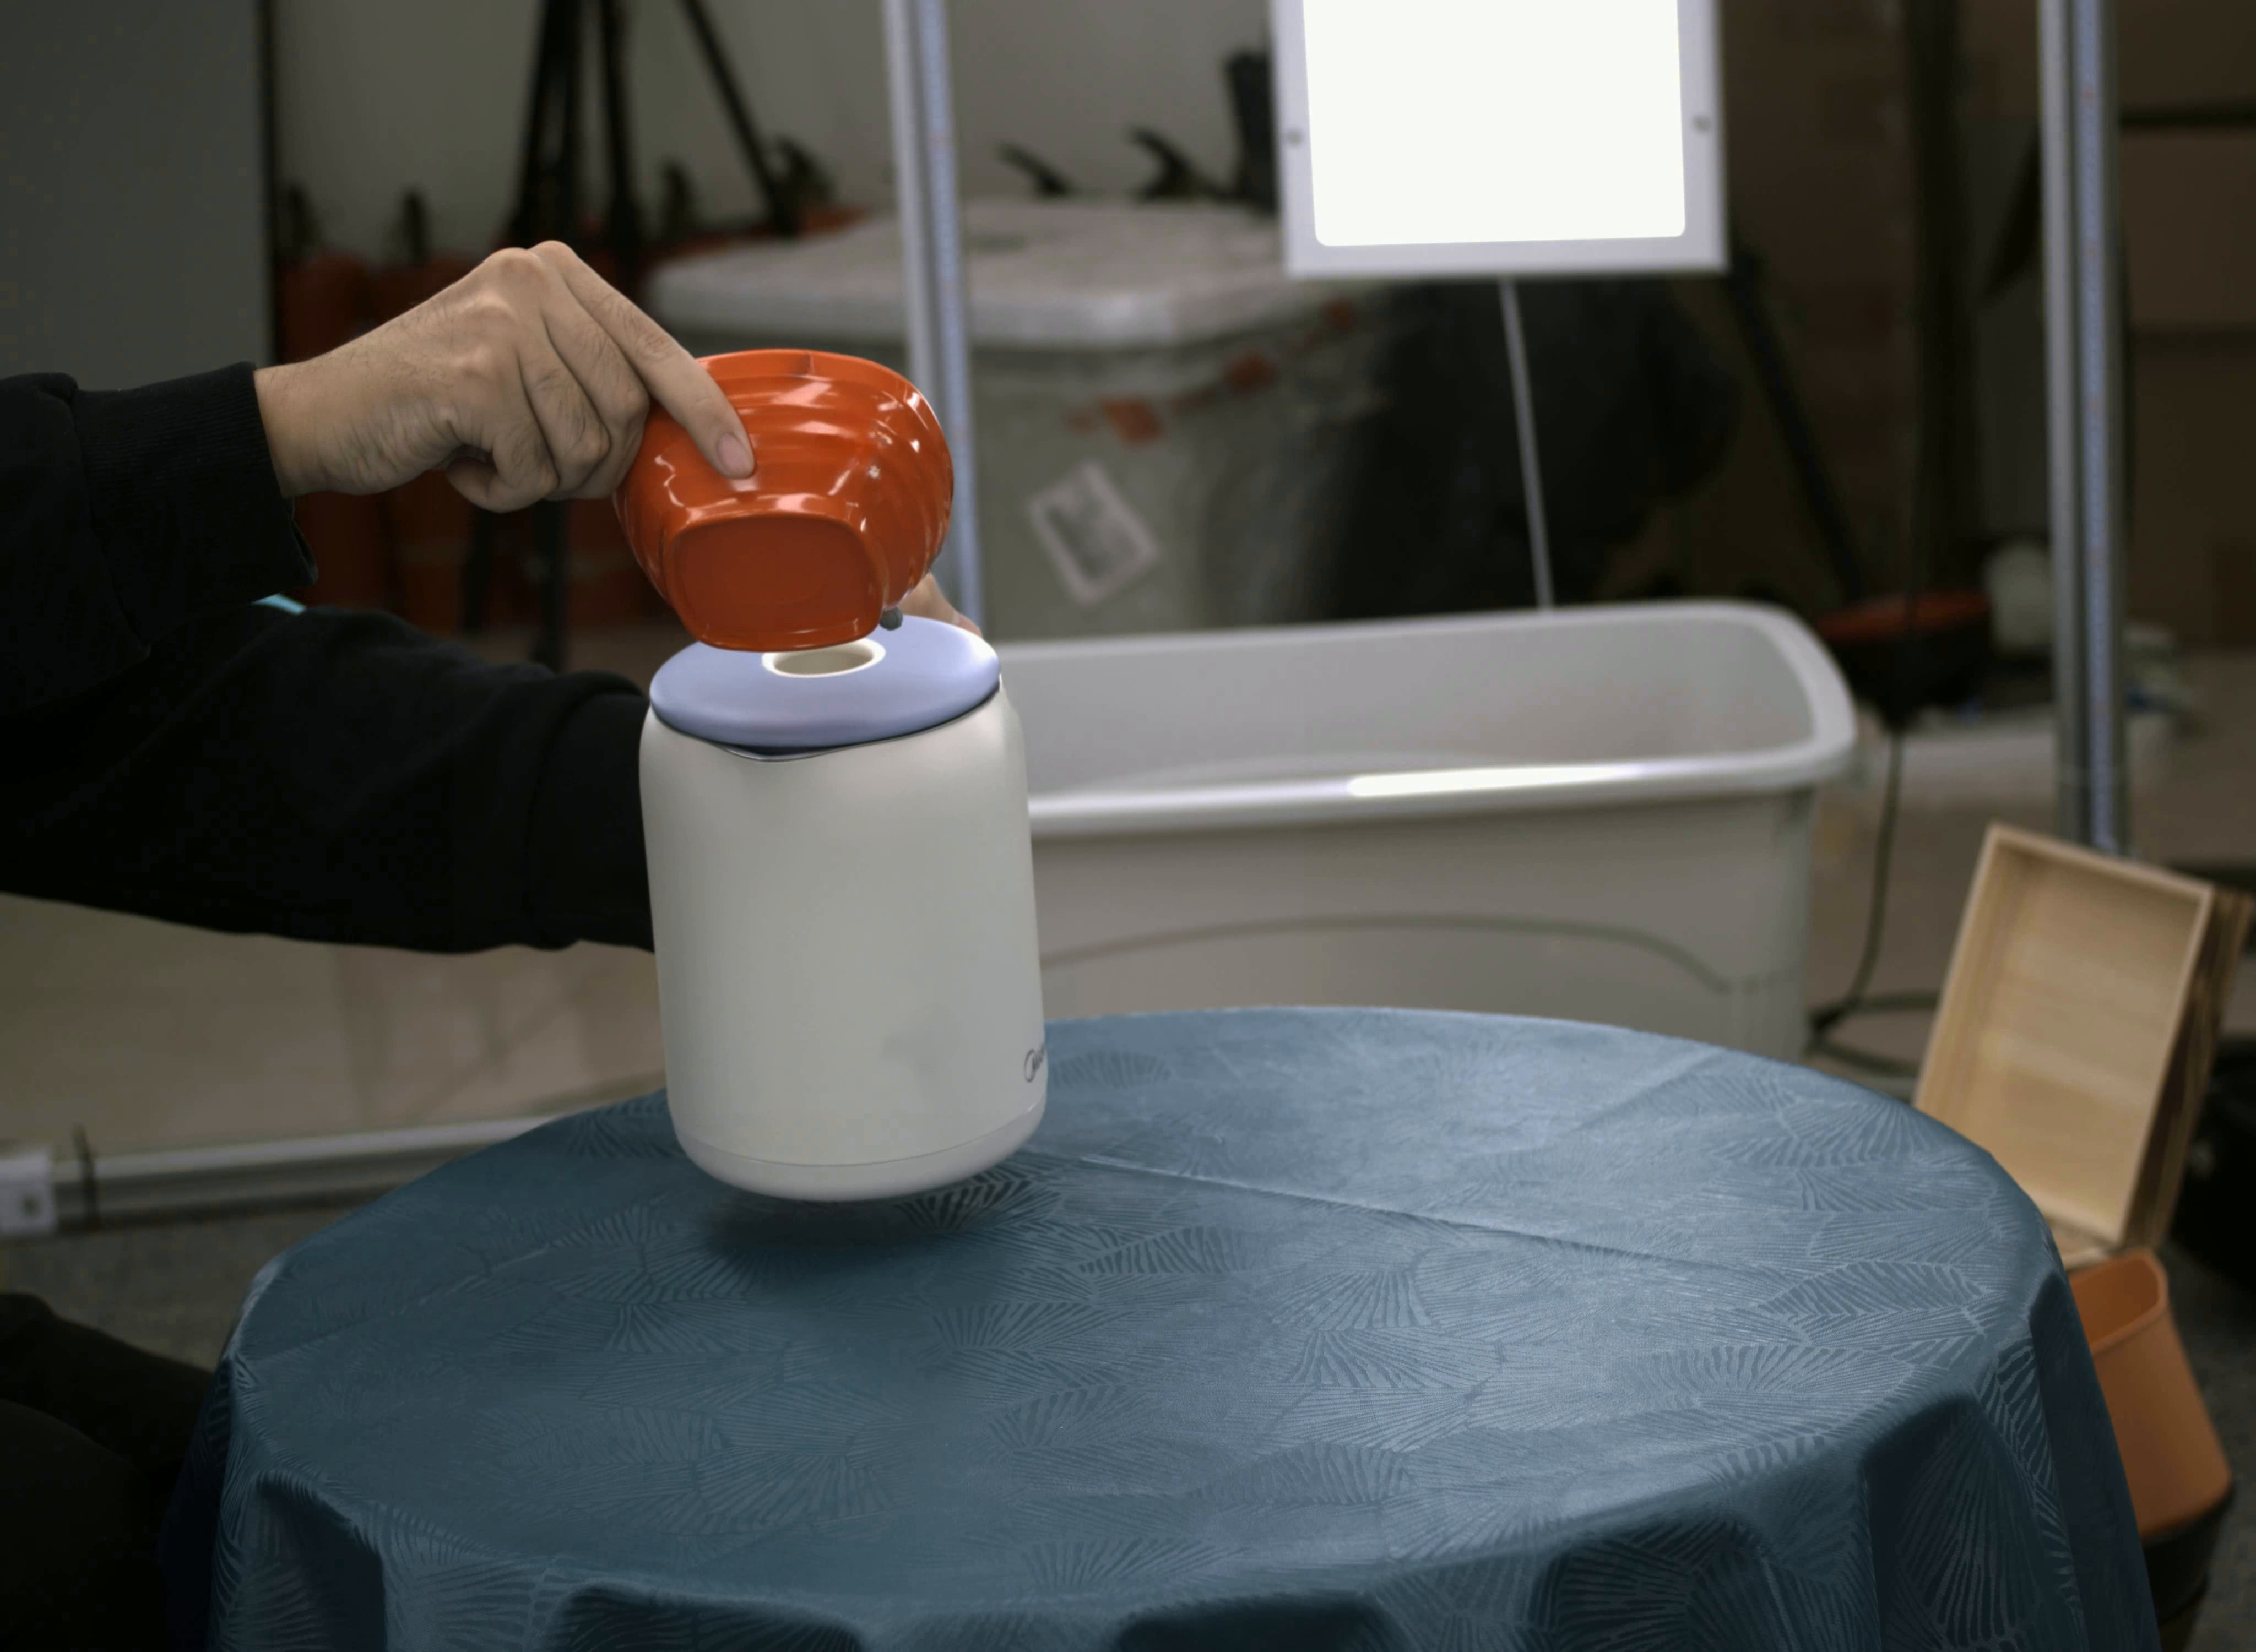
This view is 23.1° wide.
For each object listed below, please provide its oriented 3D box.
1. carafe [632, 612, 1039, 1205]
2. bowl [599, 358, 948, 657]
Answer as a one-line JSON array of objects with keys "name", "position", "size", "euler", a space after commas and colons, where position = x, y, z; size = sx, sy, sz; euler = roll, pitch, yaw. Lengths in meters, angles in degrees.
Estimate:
[{"name": "carafe", "position": [-0.094, 0.019, 1.895], "size": [0.133, 0.183, 0.189], "euler": [2, 20, 12]}, {"name": "bowl", "position": [-0.113, -0.093, 1.733], "size": [0.119, 0.119, 0.051], "euler": [-2, 55, 9]}]
